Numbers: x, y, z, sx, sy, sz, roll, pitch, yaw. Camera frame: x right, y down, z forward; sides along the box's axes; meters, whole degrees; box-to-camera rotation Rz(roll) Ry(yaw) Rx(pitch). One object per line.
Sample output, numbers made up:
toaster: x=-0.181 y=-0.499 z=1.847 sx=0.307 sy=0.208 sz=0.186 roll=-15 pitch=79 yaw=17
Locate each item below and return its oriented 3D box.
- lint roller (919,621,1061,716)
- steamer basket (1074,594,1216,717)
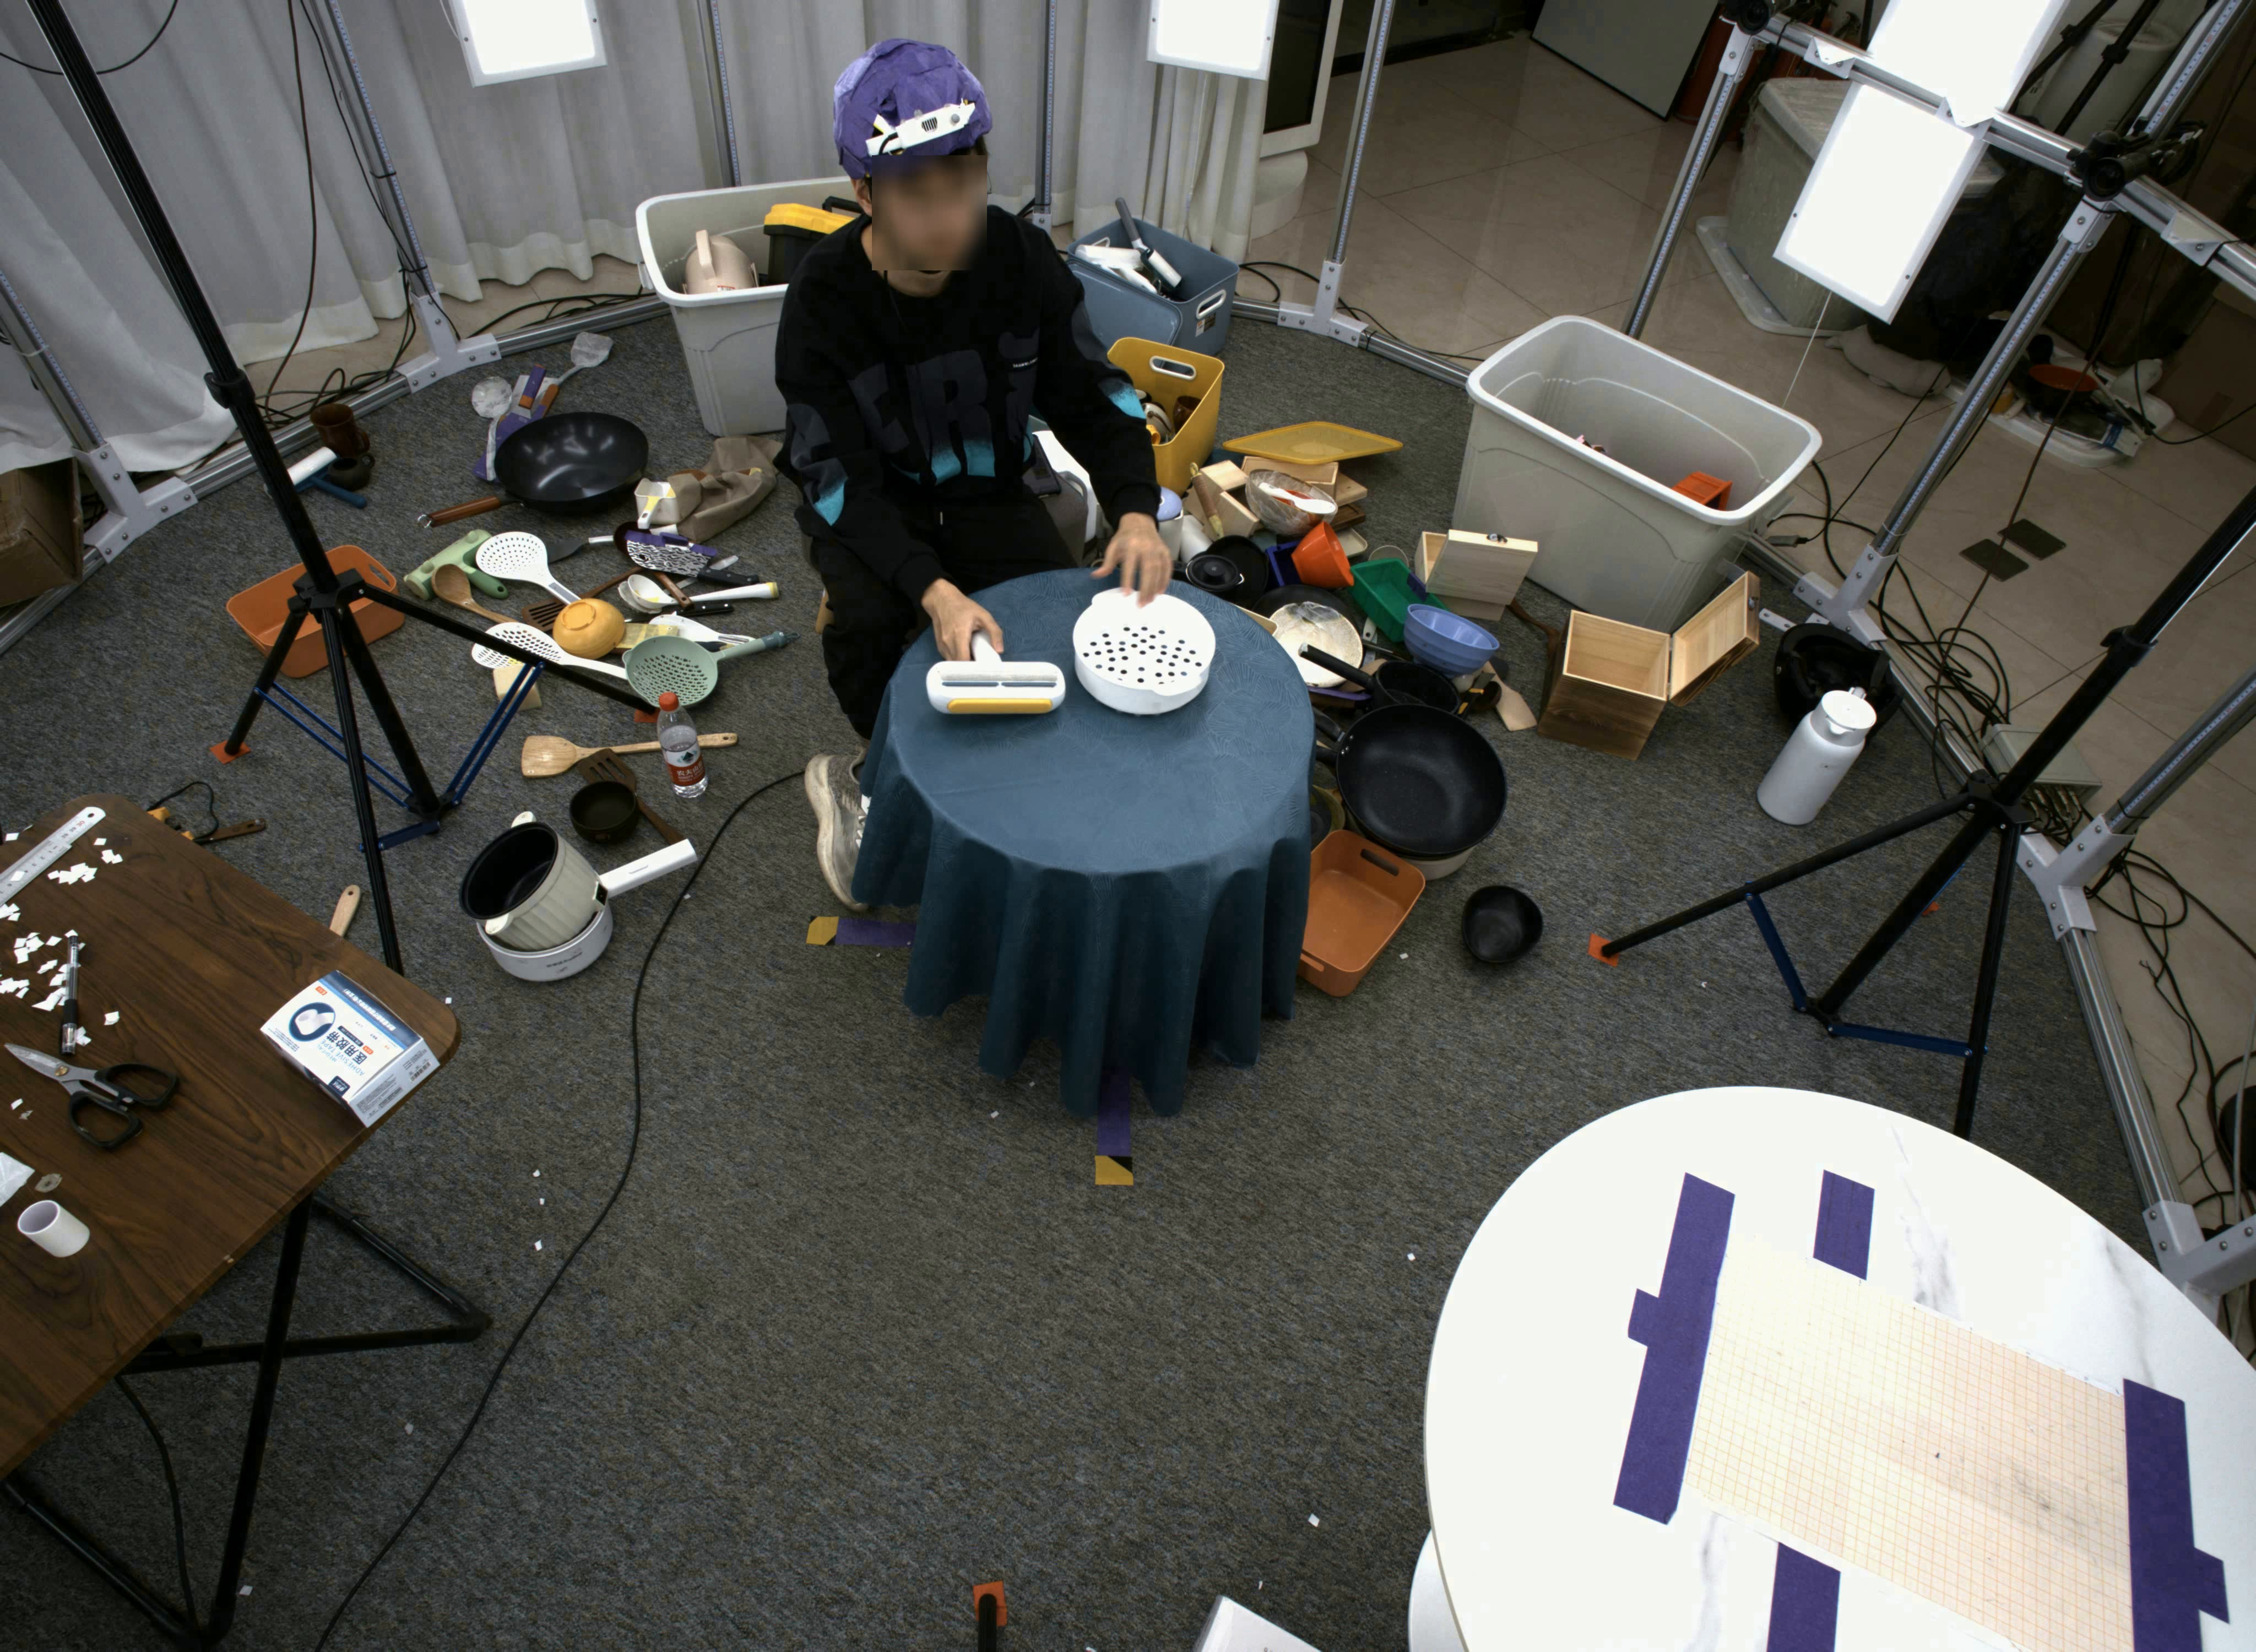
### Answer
lint roller: x=-0.199 y=-0.231 z=1.808 sx=0.192 sy=0.072 sz=0.197 roll=-2 pitch=51 yaw=-13
steamer basket: x=0.023 y=-0.241 z=1.839 sx=0.202 sy=0.067 sz=0.236 roll=-18 pitch=50 yaw=-20
